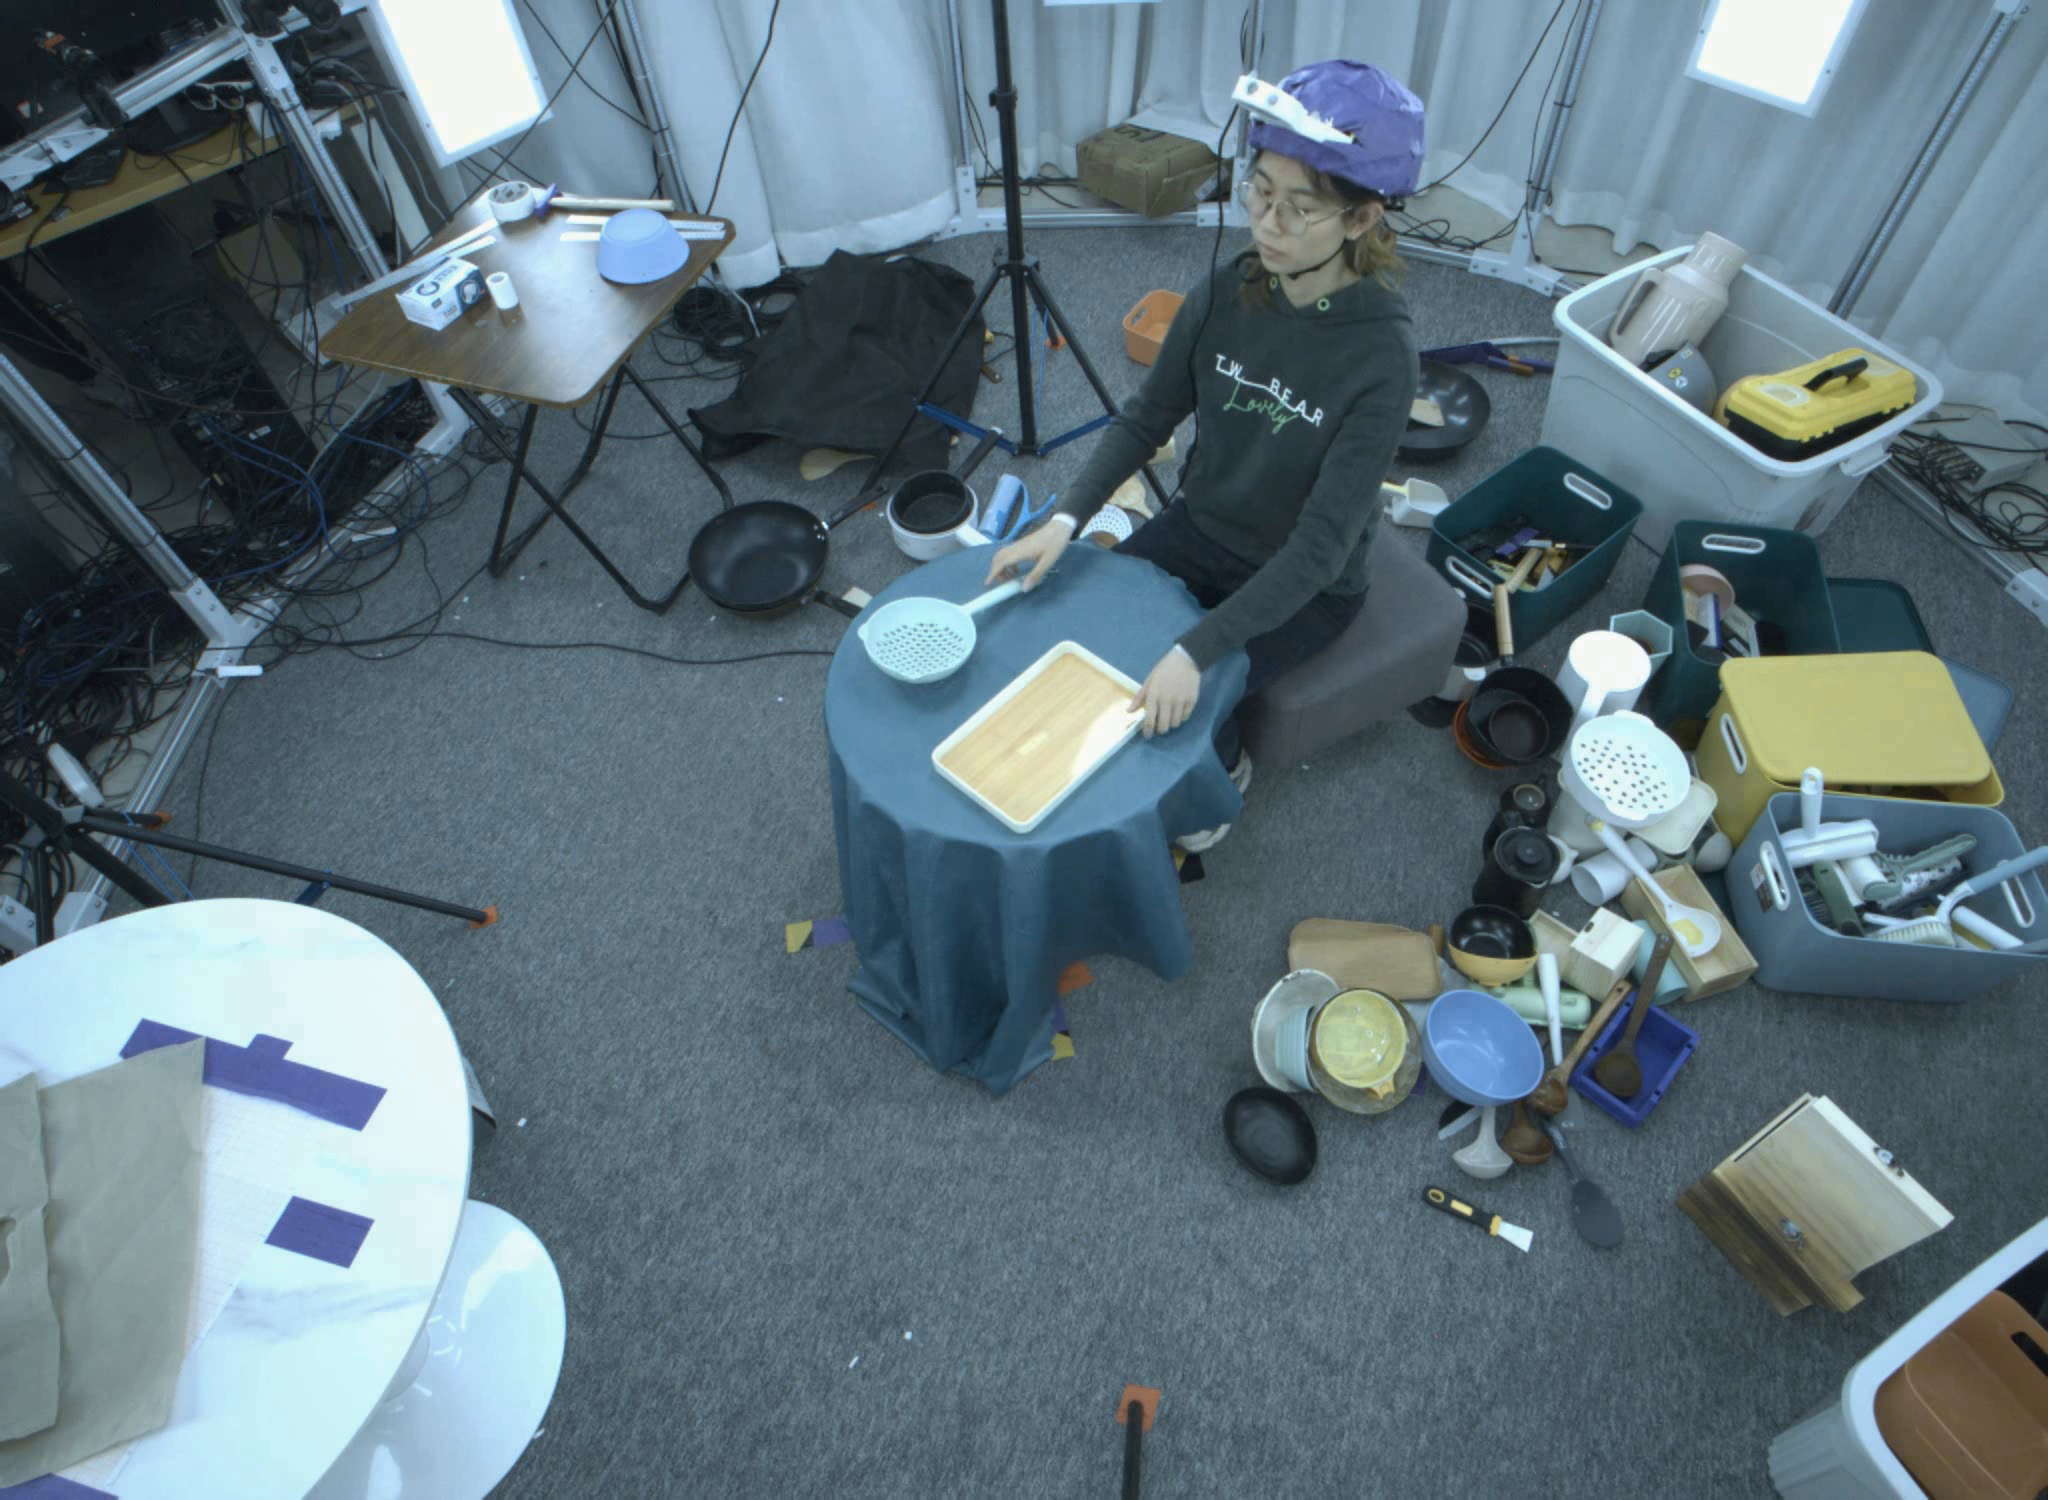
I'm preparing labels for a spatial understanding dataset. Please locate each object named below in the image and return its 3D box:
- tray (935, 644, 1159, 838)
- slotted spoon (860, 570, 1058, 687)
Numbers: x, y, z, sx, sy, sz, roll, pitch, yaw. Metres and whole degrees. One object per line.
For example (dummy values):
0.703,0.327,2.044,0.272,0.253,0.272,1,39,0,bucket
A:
0.035,-0.019,1.794,0.188,0.028,0.302,37,64,24,tray
-0.083,-0.208,1.907,0.361,0.076,0.166,-37,62,-22,slotted spoon
